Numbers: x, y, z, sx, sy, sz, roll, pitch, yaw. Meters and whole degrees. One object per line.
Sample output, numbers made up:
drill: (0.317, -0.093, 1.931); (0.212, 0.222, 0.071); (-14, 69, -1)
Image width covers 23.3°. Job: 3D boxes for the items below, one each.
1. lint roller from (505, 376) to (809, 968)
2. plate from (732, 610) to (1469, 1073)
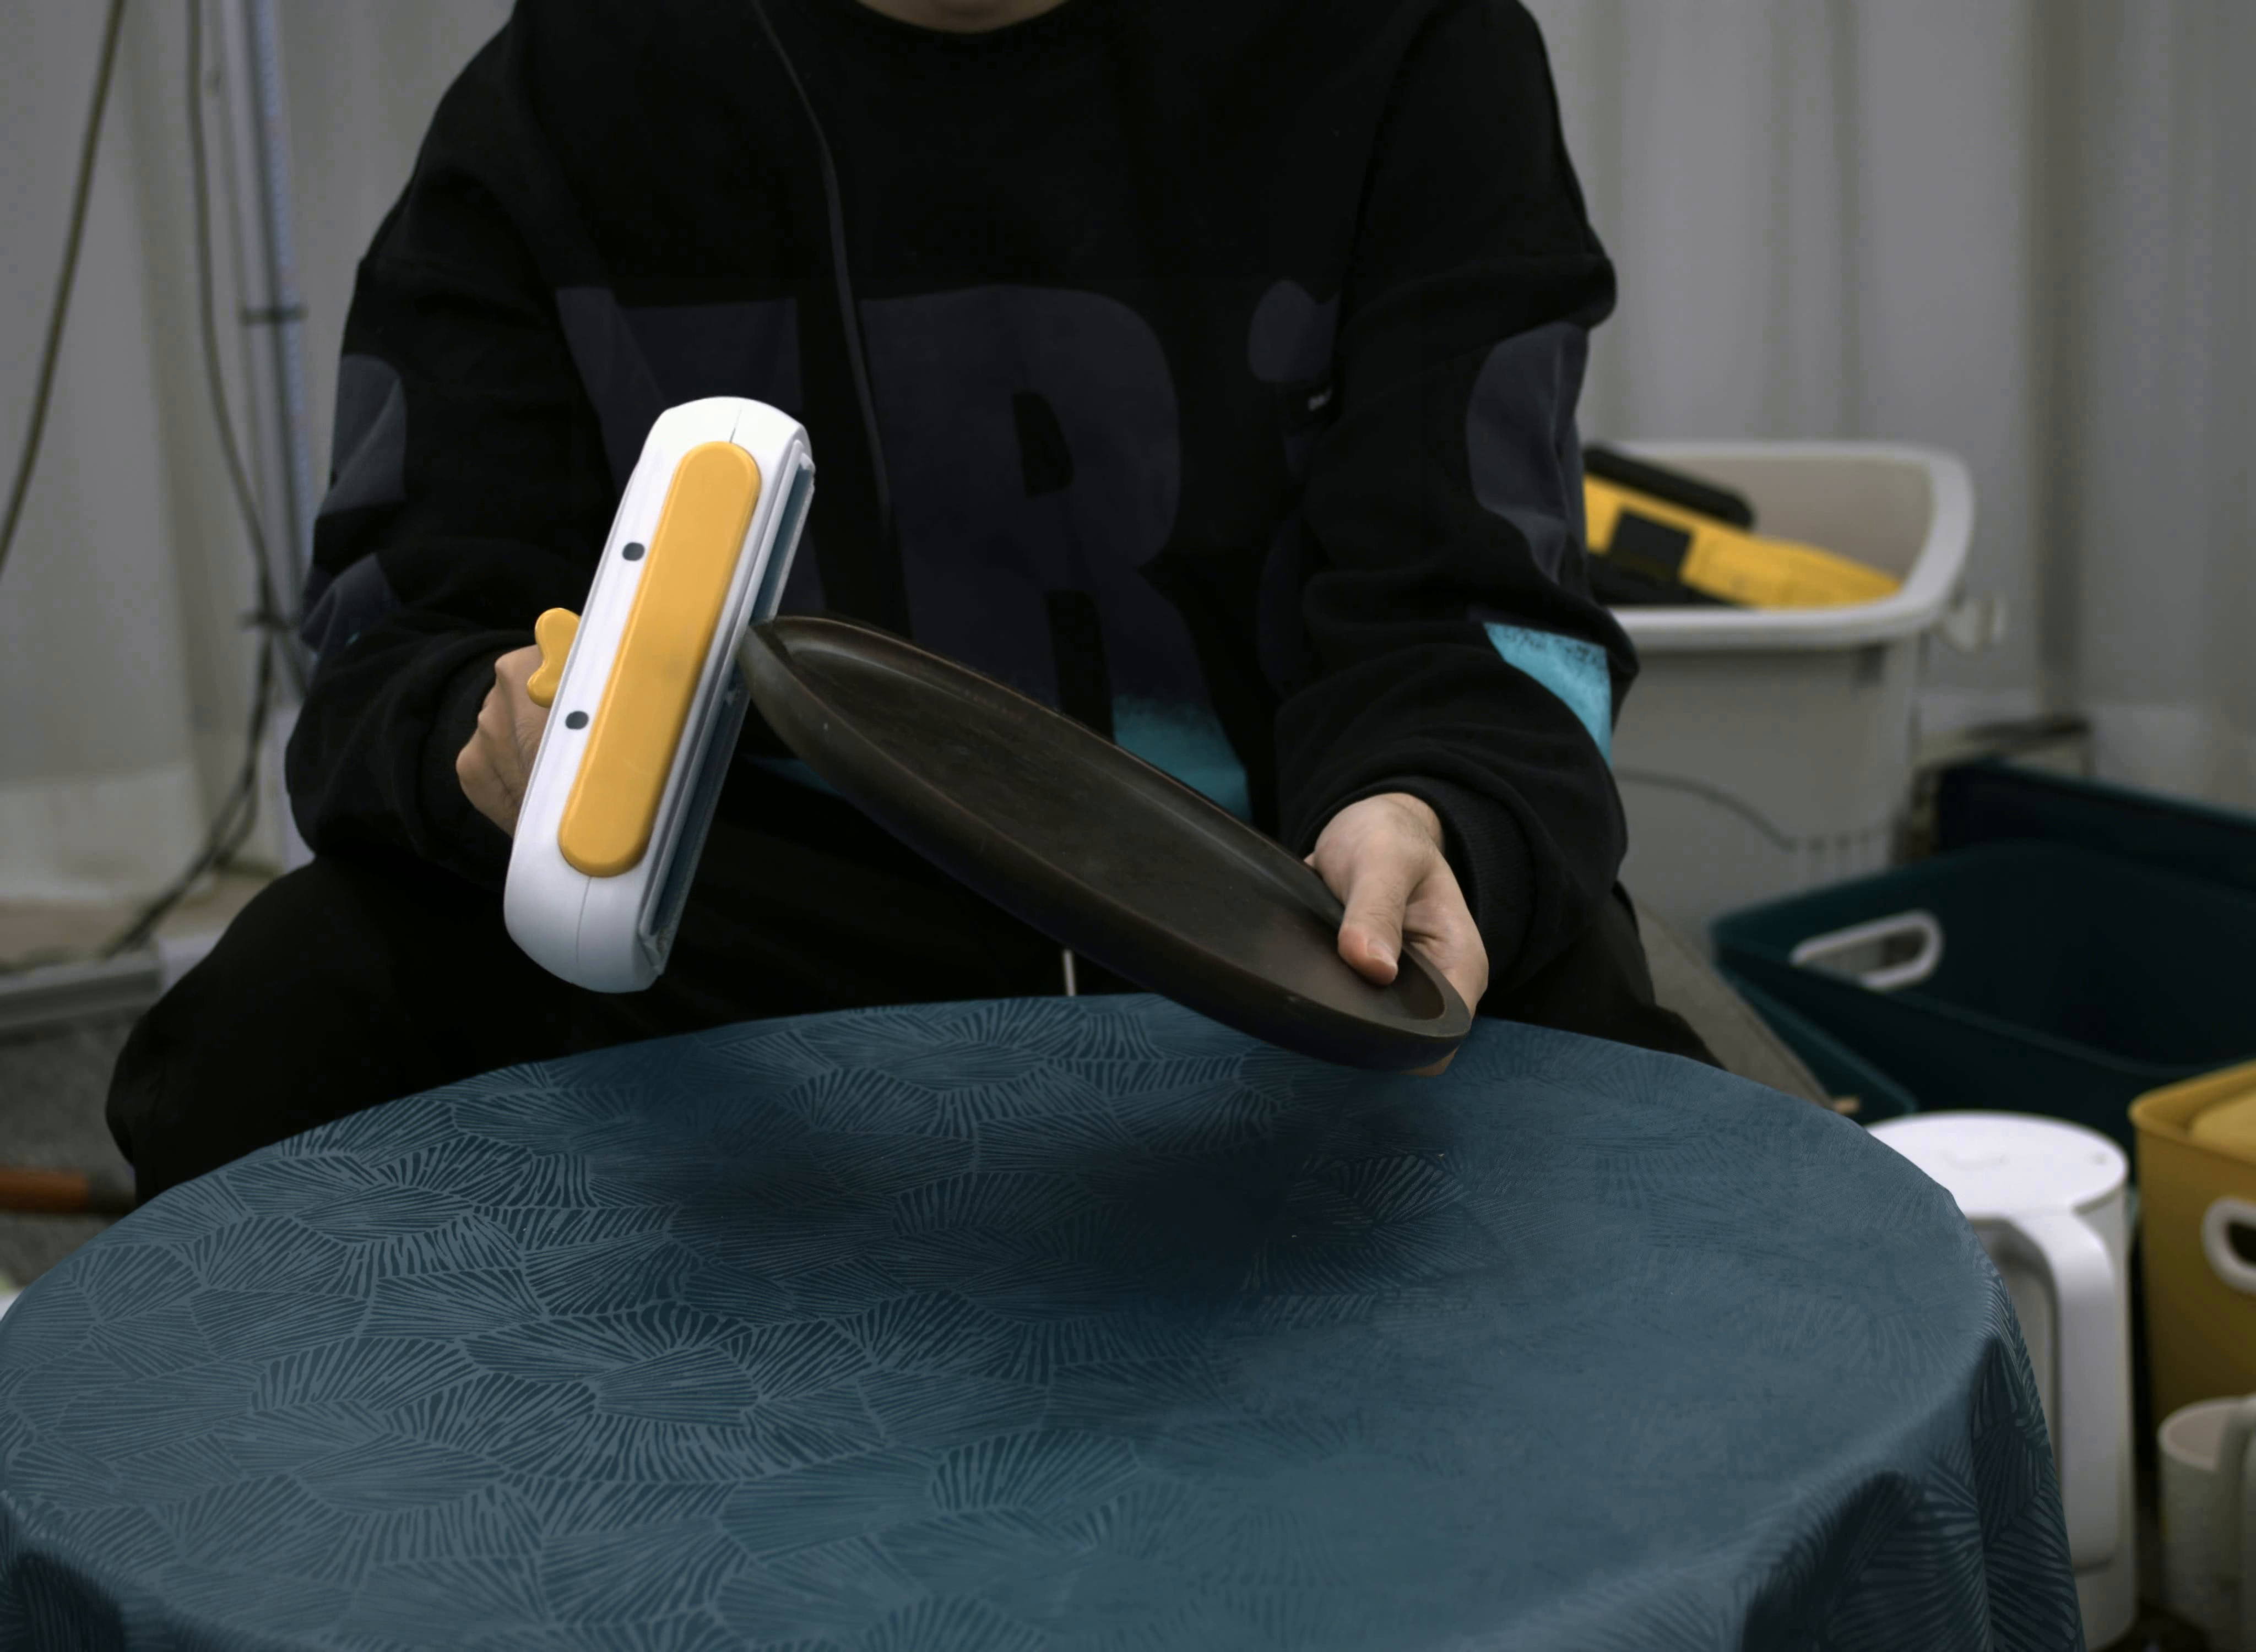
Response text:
lint roller: (-0.158, -0.030, 1.756); (0.074, 0.195, 0.191); (12, -22, -2)
plate: (-0.010, 0.005, 1.665); (0.254, 0.029, 0.256); (29, 8, -5)
